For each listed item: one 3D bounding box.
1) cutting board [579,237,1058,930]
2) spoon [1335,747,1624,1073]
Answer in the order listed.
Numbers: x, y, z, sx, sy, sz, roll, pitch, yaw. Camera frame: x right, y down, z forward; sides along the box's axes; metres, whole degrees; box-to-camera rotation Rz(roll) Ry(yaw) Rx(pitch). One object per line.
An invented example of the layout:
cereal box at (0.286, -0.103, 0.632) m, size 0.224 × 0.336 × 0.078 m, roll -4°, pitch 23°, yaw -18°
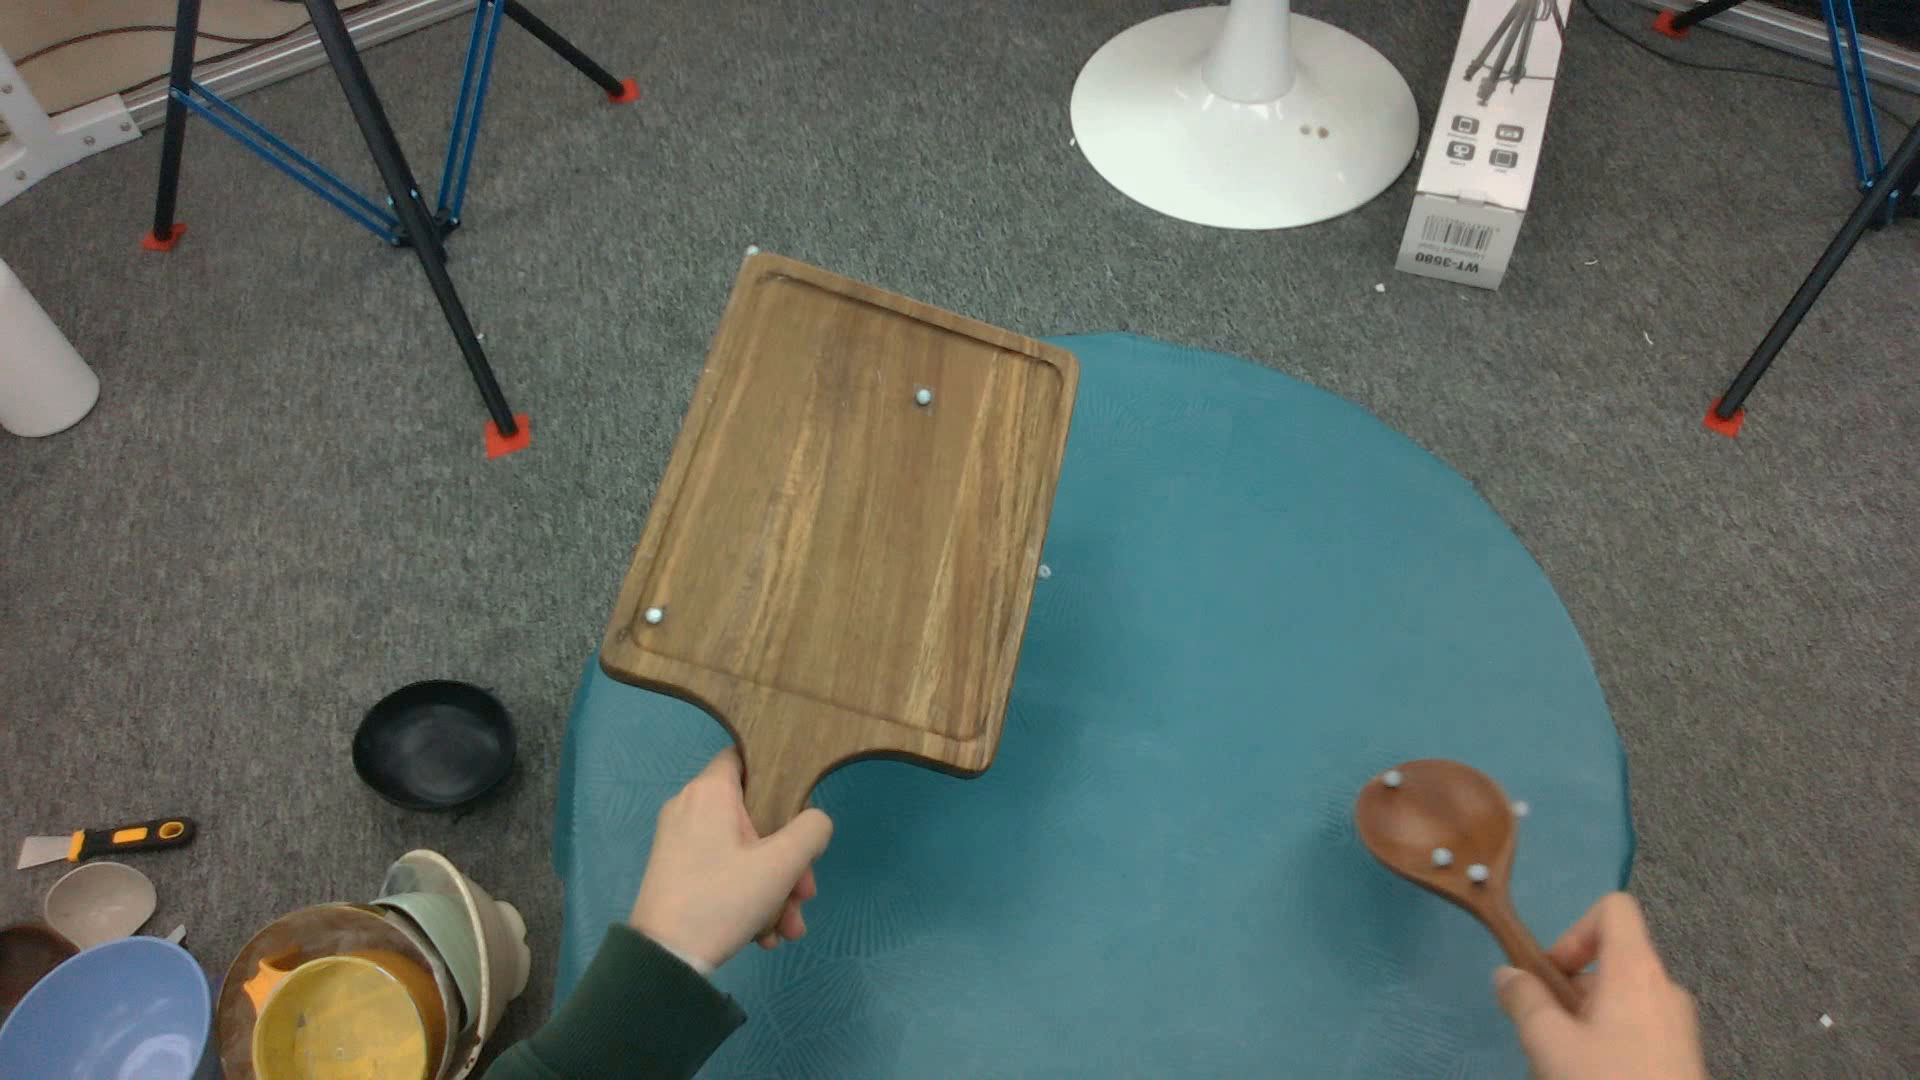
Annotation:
cutting board at (-0.072, 0.016, 0.689) m, size 0.201 × 0.023 × 0.353 m, roll 17°, pitch 64°, yaw -8°
spoon at (0.236, 0.159, 0.629) m, size 0.075 × 0.017 × 0.216 m, roll -16°, pitch 24°, yaw 0°
